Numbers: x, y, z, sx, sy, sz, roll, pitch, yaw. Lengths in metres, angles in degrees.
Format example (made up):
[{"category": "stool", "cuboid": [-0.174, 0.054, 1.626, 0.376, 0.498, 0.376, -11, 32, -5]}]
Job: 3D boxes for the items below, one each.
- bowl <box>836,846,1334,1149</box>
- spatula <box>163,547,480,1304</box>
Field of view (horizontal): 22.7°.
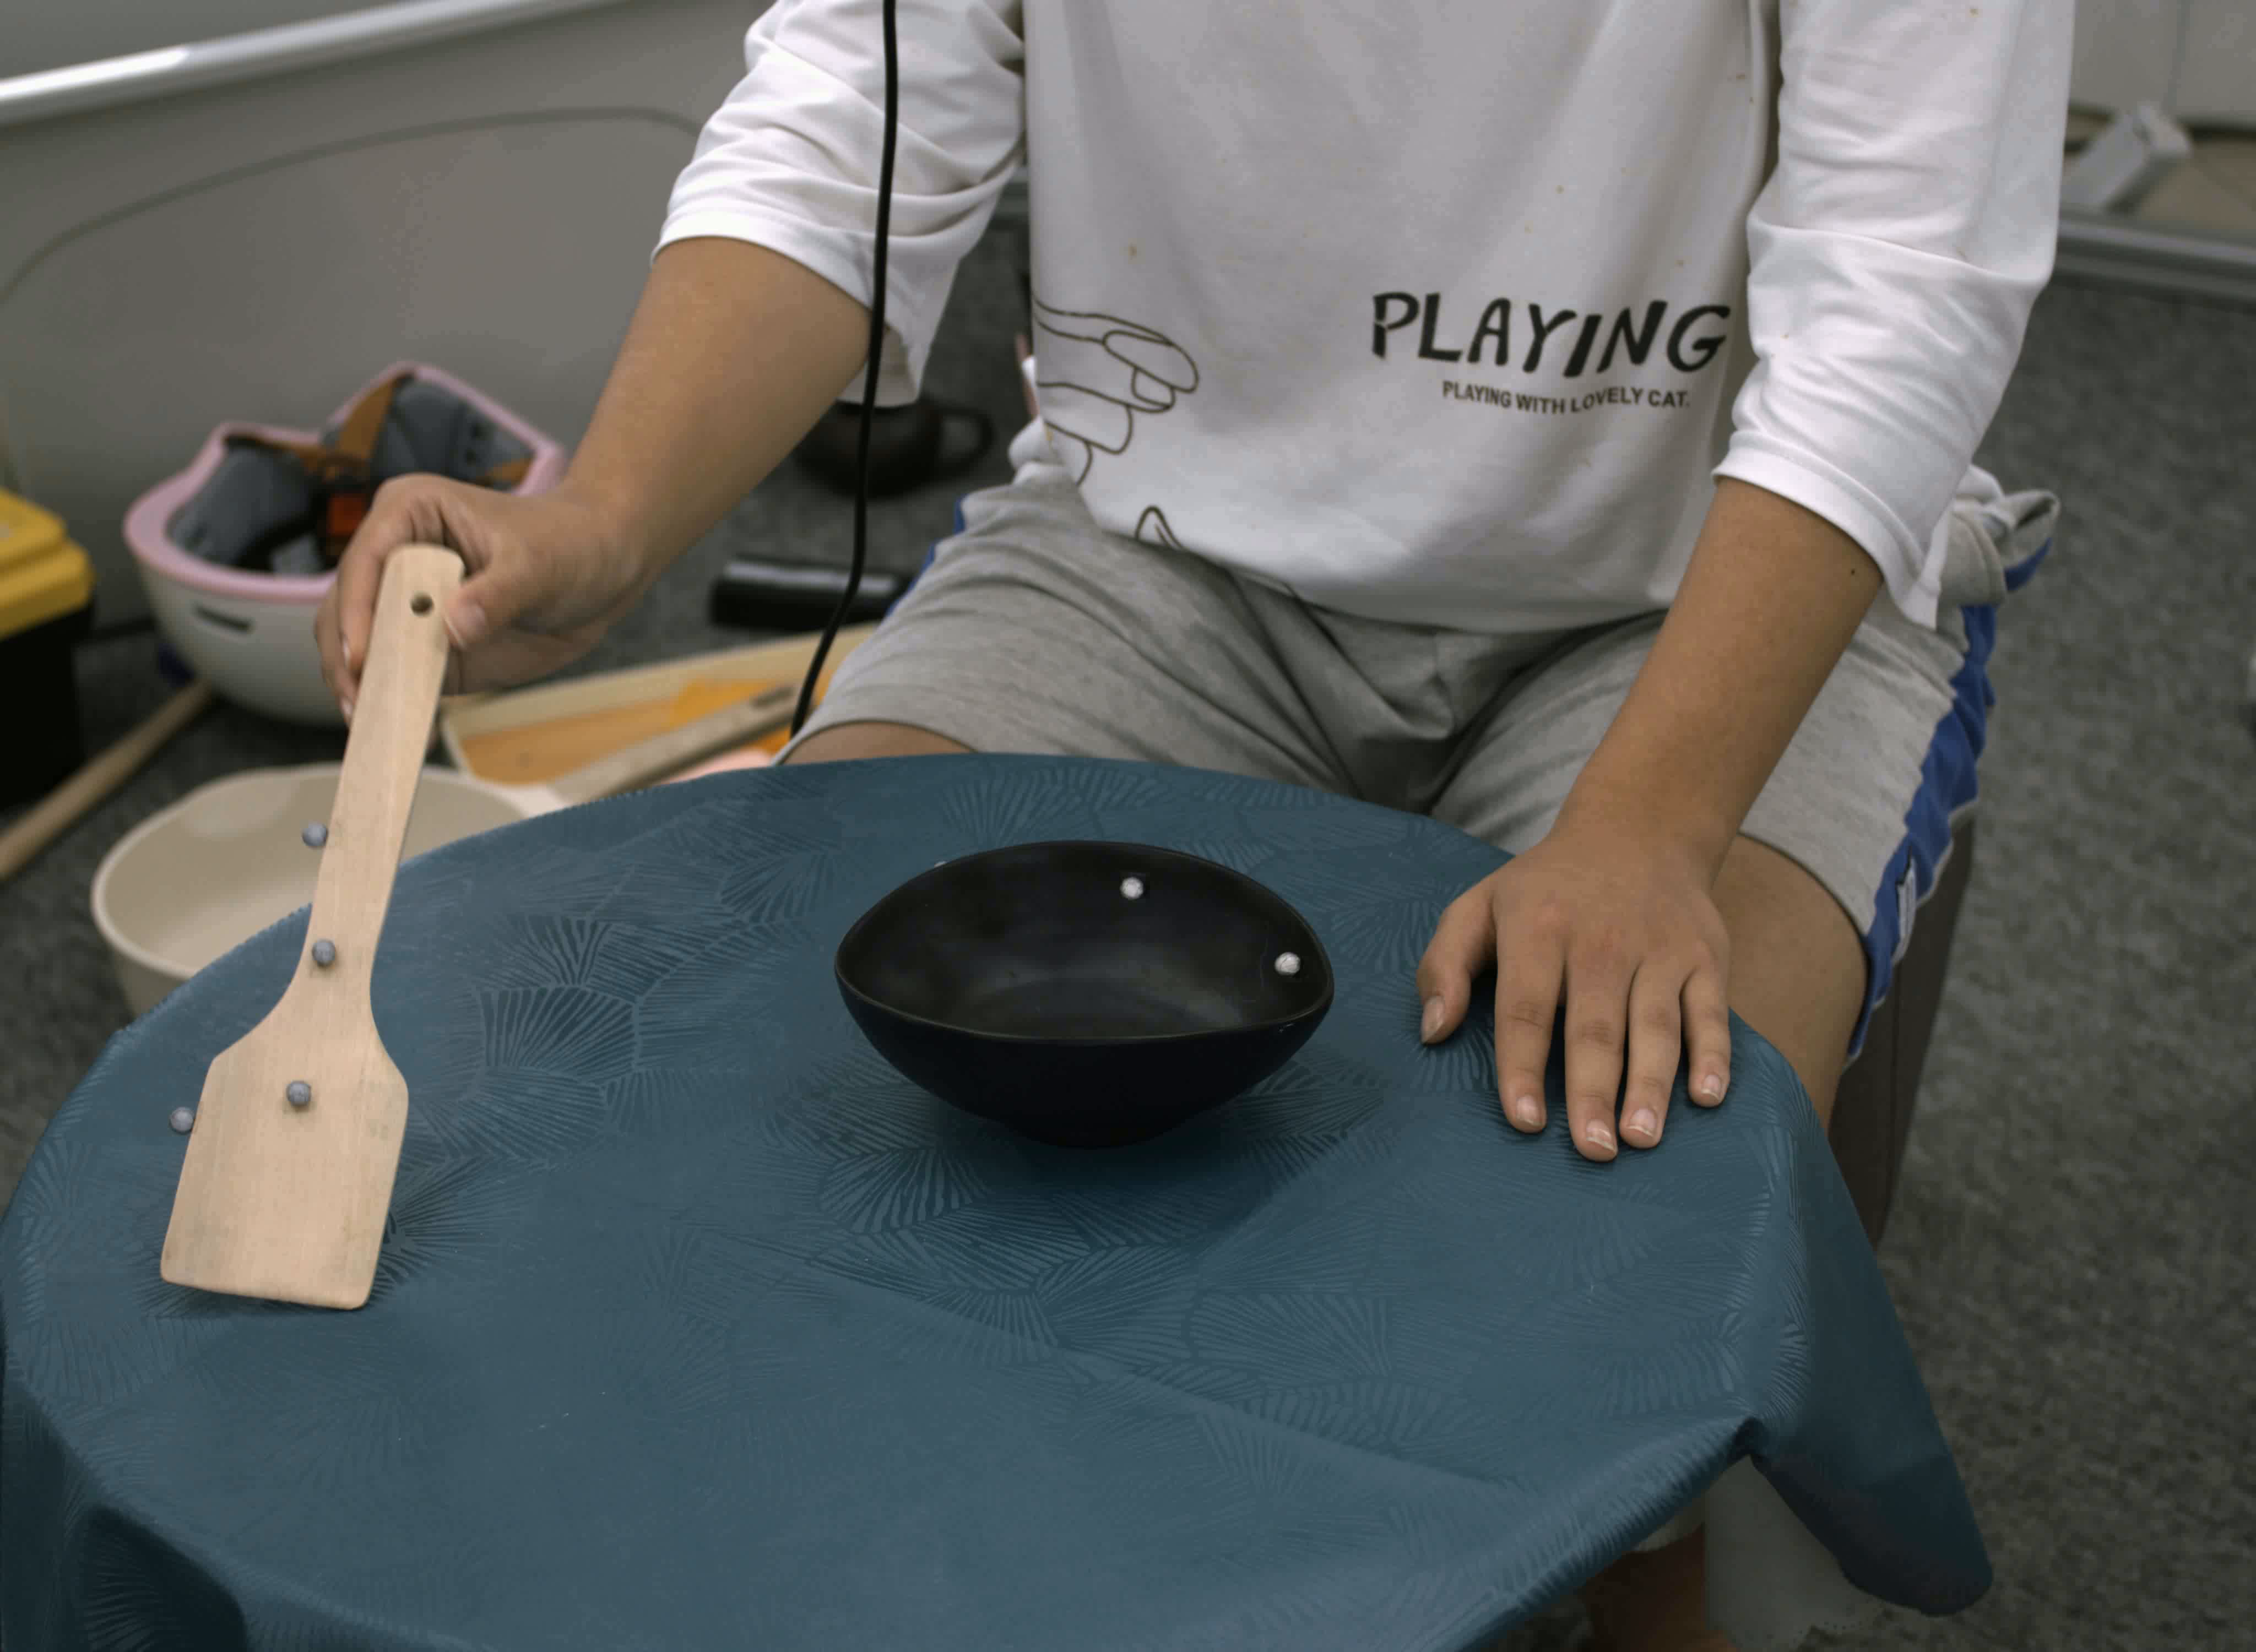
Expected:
[{"category": "bowl", "cuboid": [-0.014, 0.065, 1.906, 0.169, 0.066, 0.139, 3, 27, 6]}, {"category": "spatula", "cuboid": [-0.261, 0.028, 1.897, 0.072, 0.010, 0.299, 8, 58, 1]}]
